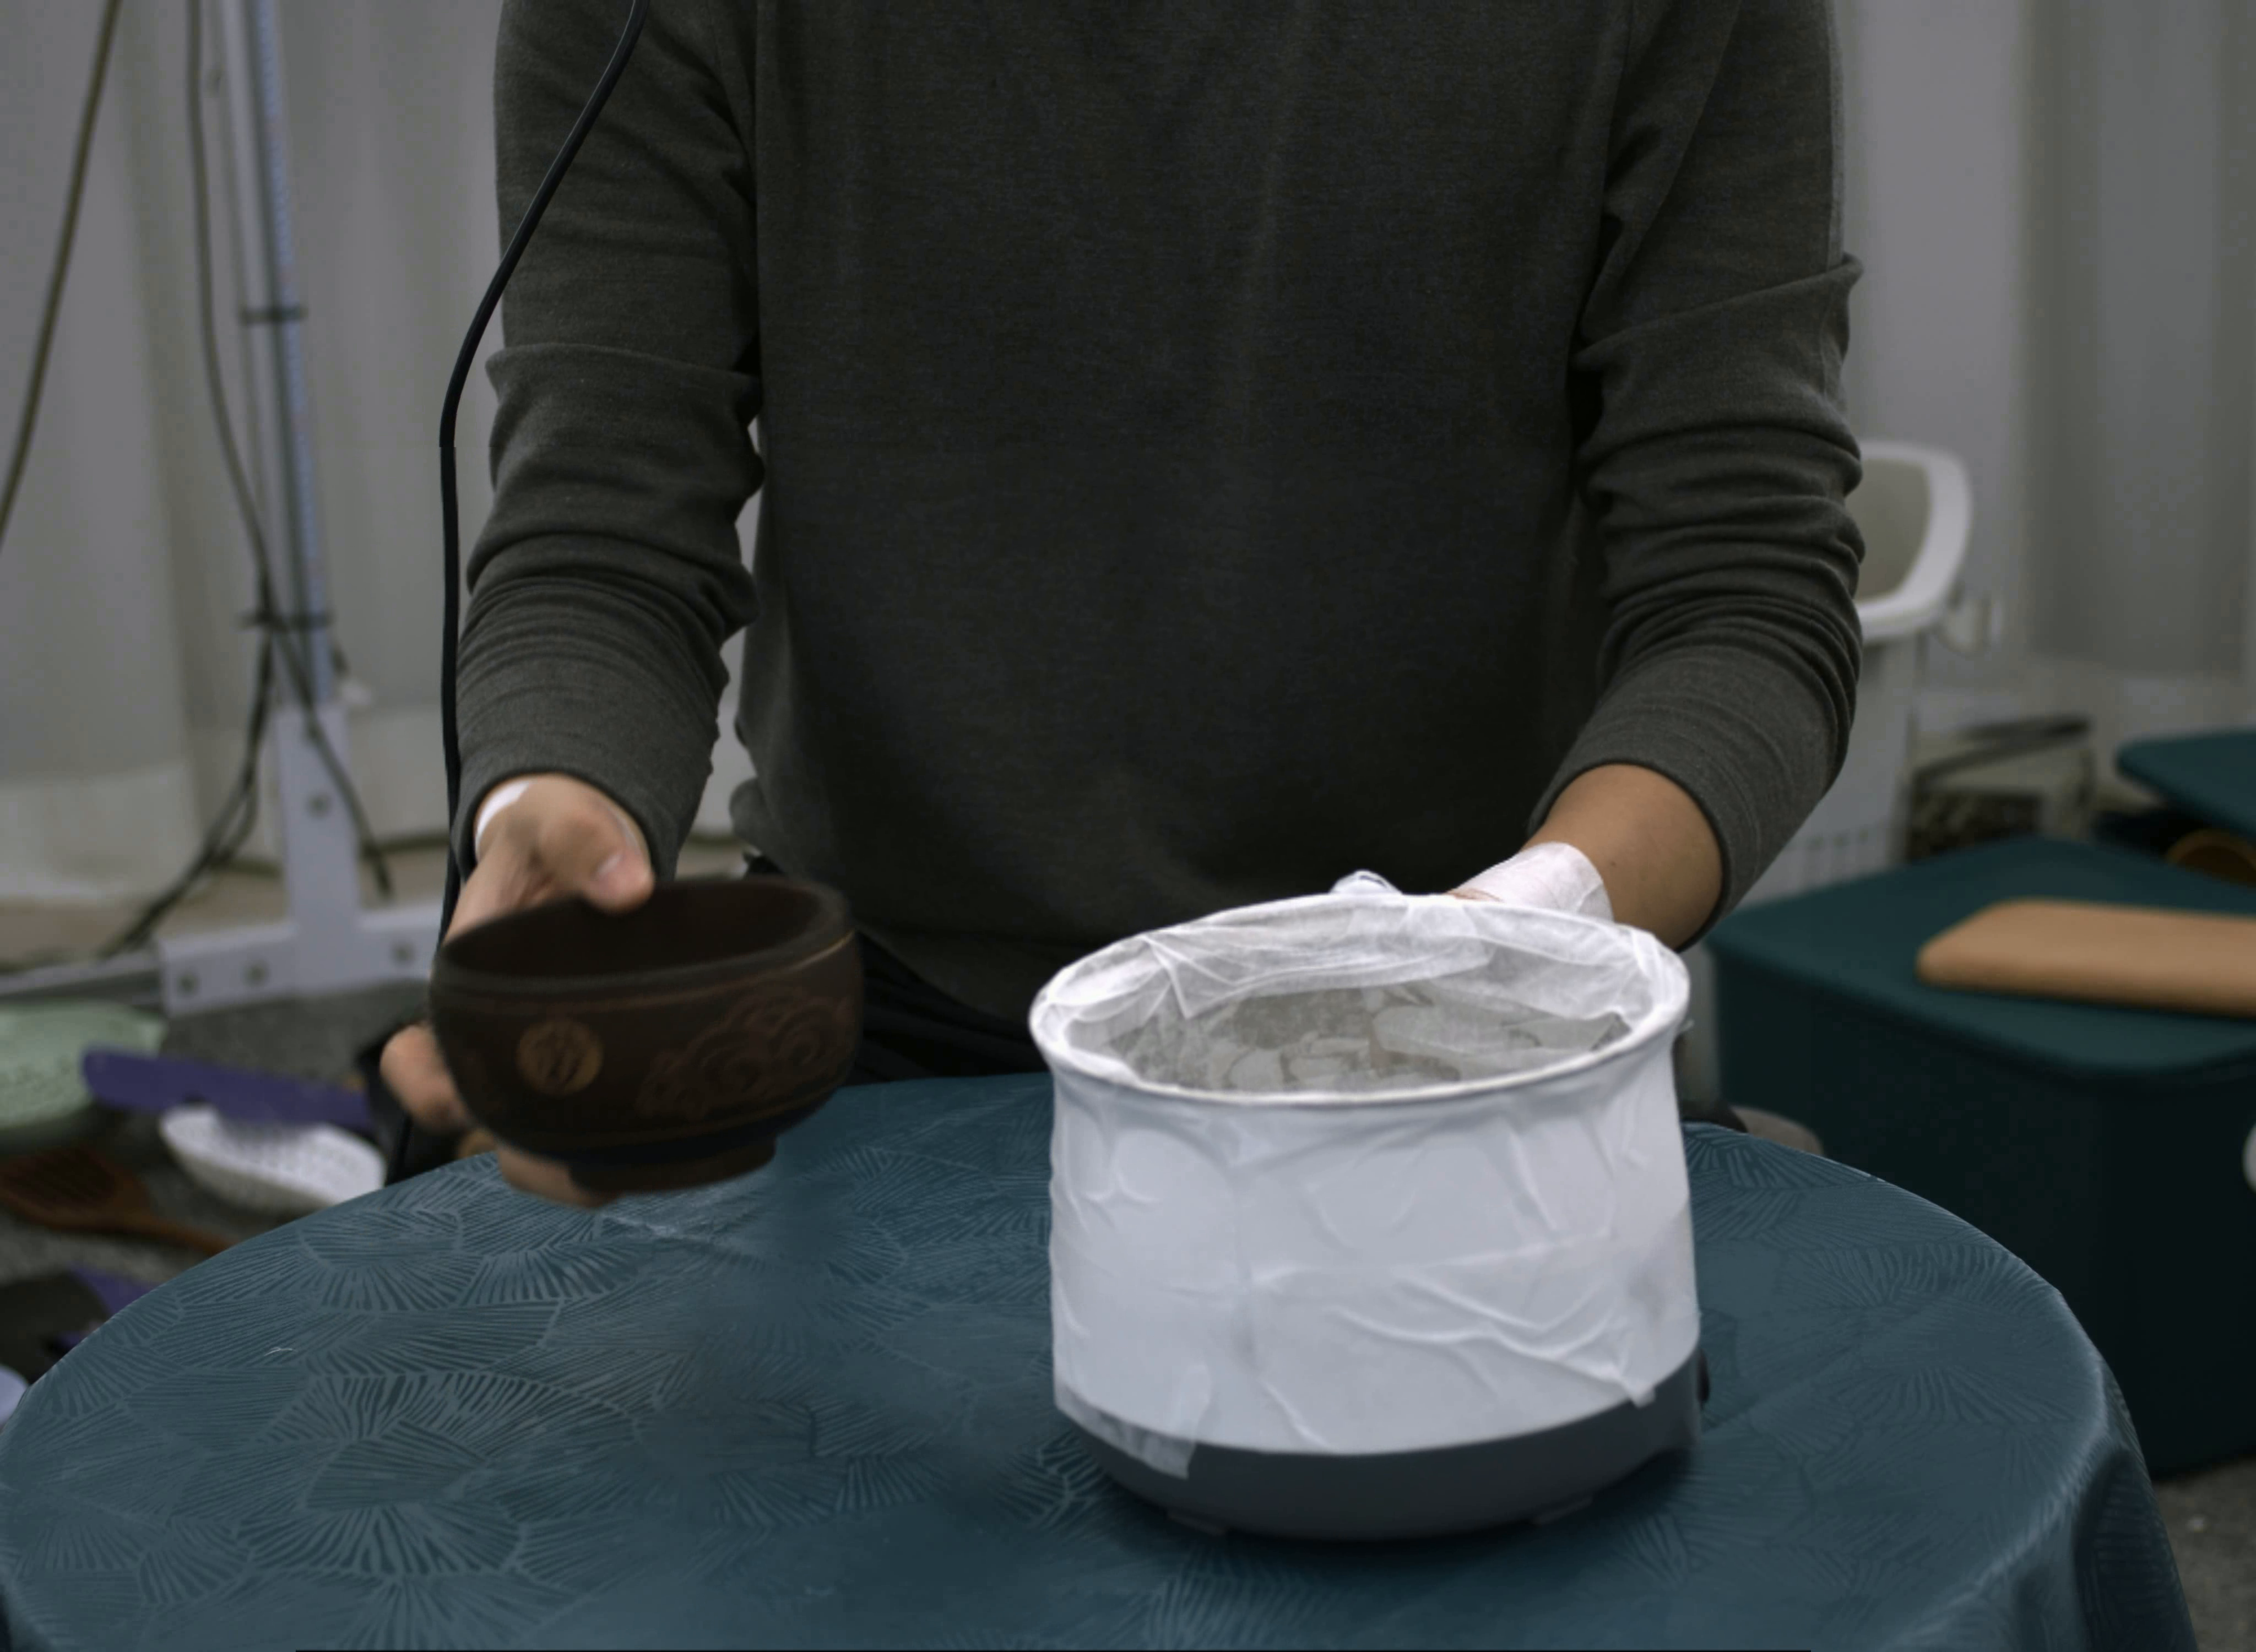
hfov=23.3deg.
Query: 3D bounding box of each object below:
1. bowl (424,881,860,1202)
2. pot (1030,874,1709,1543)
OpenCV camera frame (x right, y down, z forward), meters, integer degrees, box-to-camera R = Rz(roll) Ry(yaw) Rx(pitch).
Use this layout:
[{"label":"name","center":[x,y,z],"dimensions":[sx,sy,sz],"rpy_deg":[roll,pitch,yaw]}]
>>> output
[{"label":"bowl","center":[-0.130,0.062,1.499],"dimensions":[0.117,0.070,0.118],"rpy_deg":[-8,10,1]},{"label":"pot","center":[0.067,0.098,1.497],"dimensions":[0.178,0.136,0.235],"rpy_deg":[-2,14,3]}]
